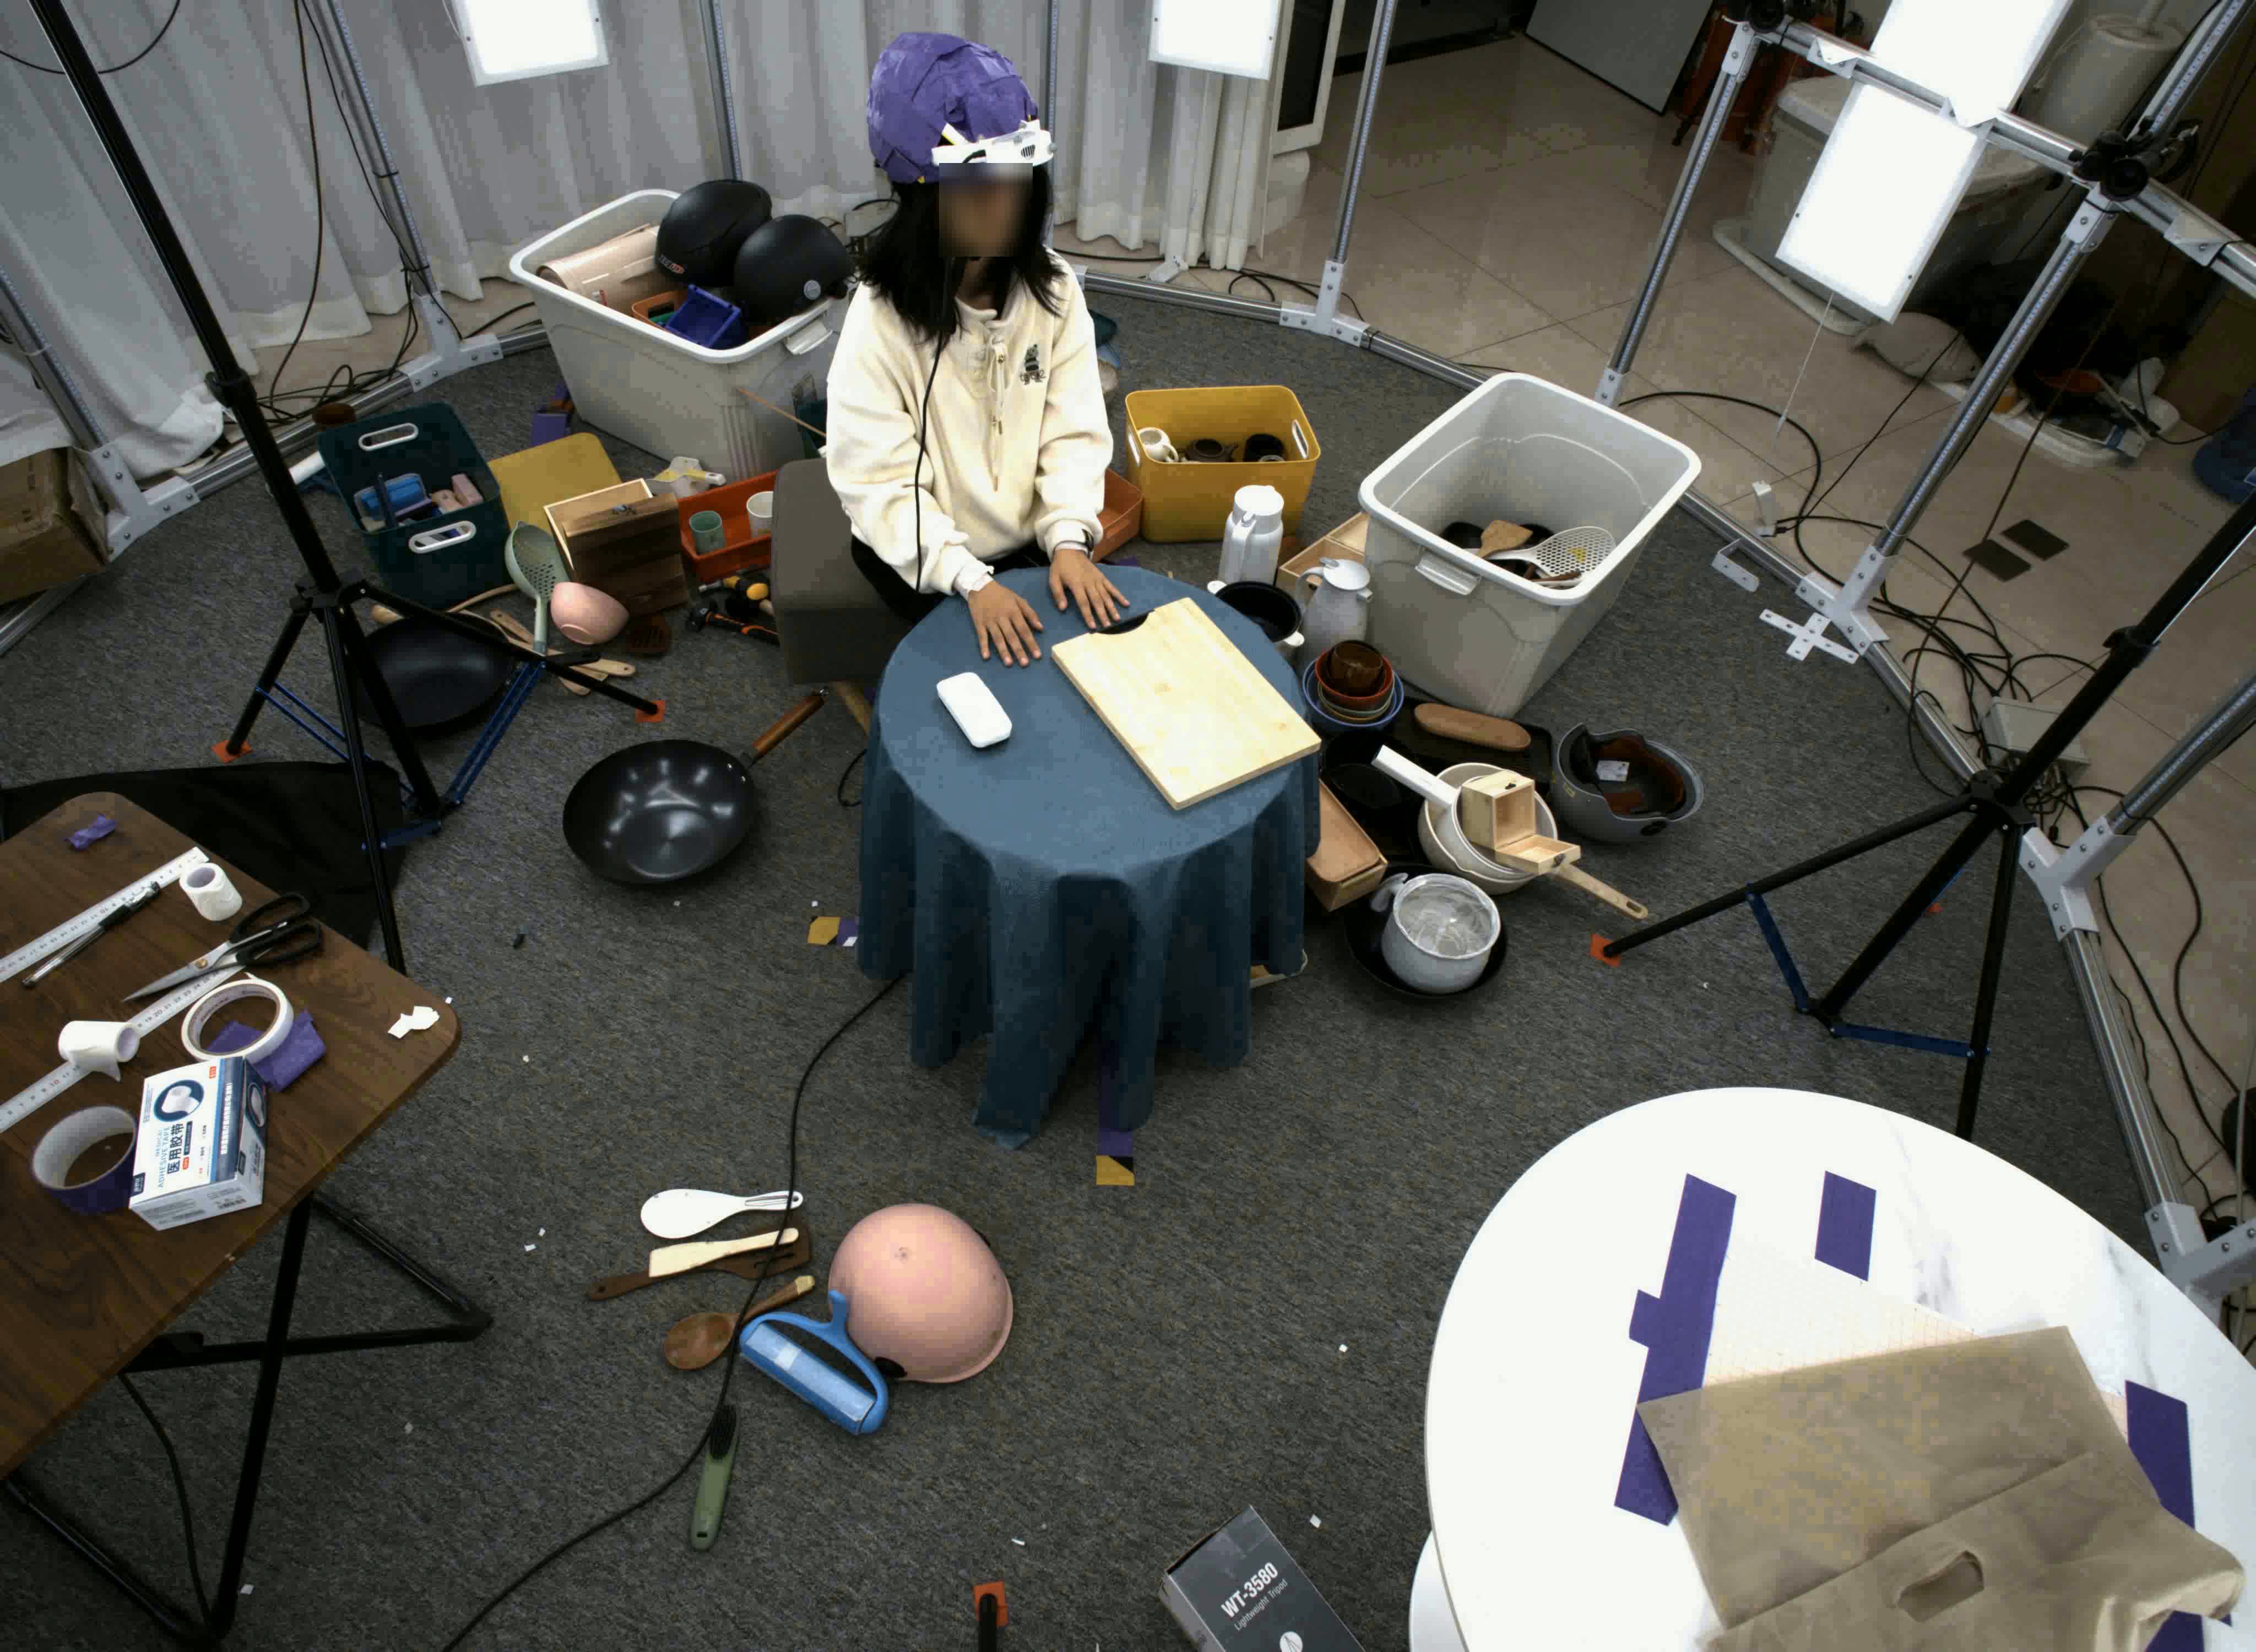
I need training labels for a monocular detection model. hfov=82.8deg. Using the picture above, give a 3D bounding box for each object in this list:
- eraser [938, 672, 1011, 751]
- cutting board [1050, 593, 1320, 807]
[{"bbox_3d":[-0.212,-0.162,1.776,0.063,0.034,0.134,-21,54,-20],"label":"eraser"},{"bbox_3d":[0.075,-0.188,1.827,0.251,0.023,0.356,-24,55,-22],"label":"cutting board"}]
